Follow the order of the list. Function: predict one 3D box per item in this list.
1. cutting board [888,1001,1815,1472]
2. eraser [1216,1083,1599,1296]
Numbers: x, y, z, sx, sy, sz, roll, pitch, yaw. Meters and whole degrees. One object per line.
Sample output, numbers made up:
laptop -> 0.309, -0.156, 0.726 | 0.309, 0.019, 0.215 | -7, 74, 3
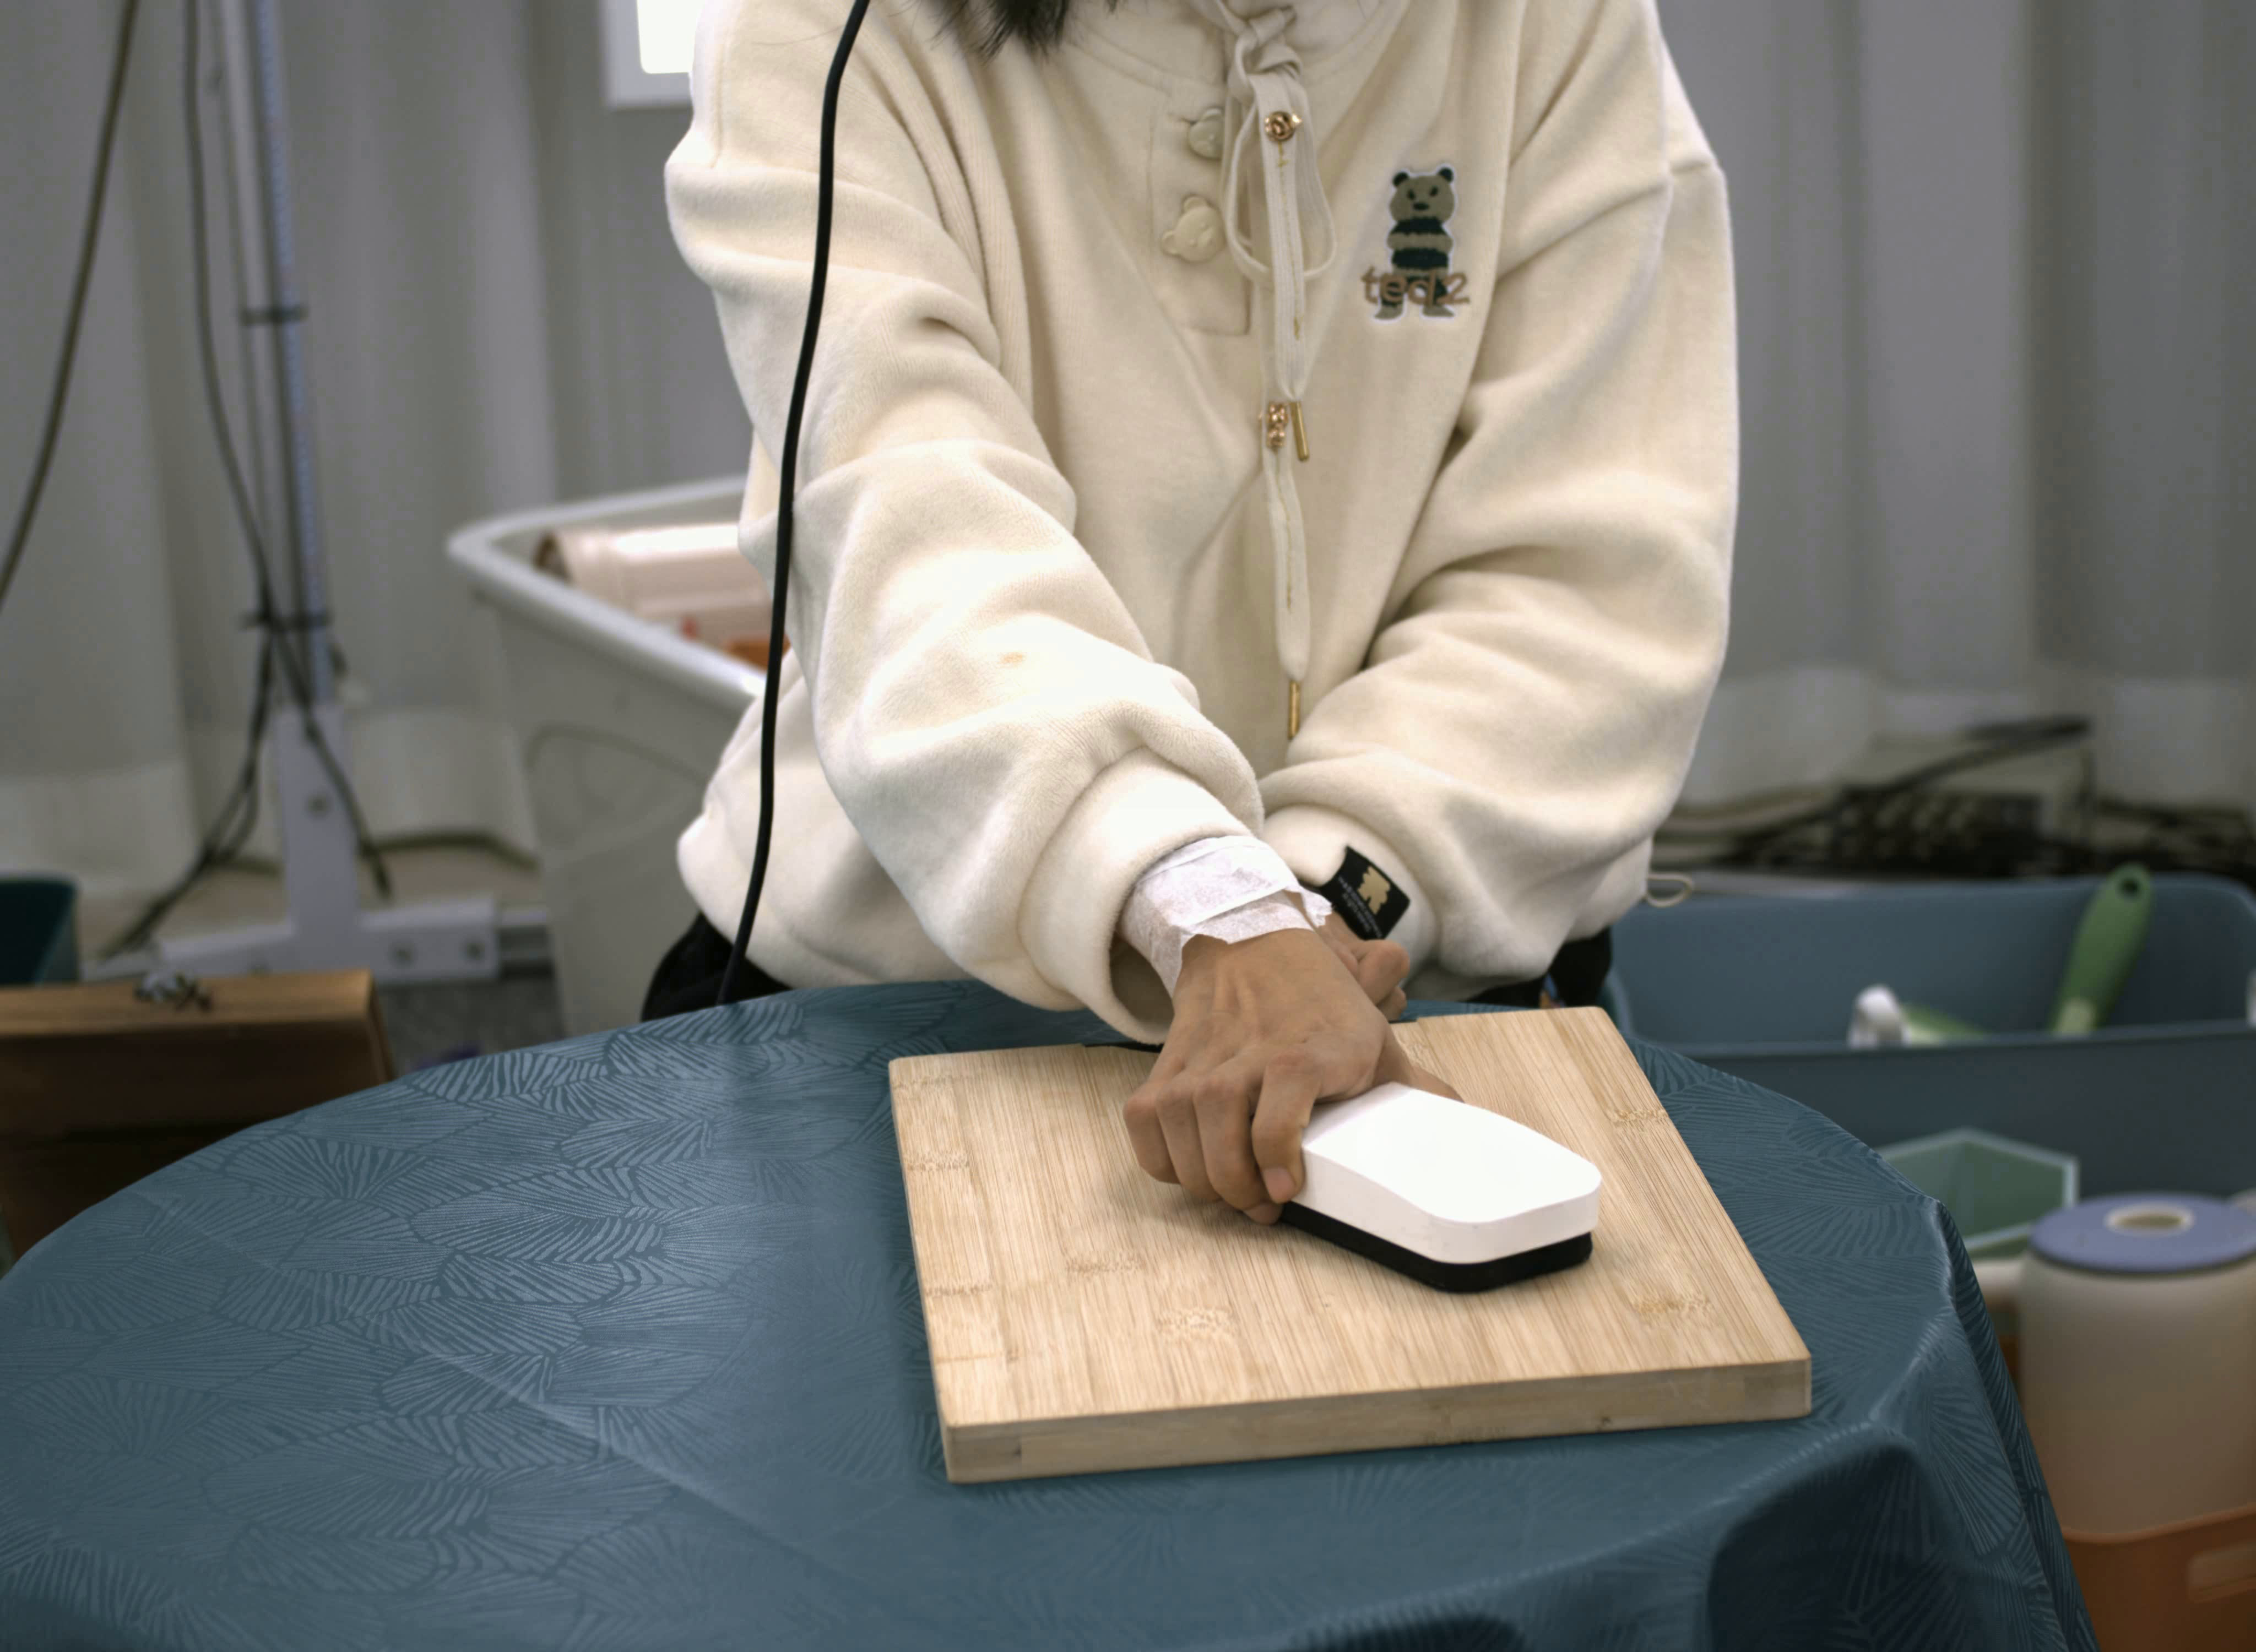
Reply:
cutting board -> 0.055, 0.119, 1.657 | 0.250, 0.023, 0.351 | -4, 15, -5
eraser -> 0.082, 0.103, 1.613 | 0.063, 0.034, 0.132 | -12, 18, -30
